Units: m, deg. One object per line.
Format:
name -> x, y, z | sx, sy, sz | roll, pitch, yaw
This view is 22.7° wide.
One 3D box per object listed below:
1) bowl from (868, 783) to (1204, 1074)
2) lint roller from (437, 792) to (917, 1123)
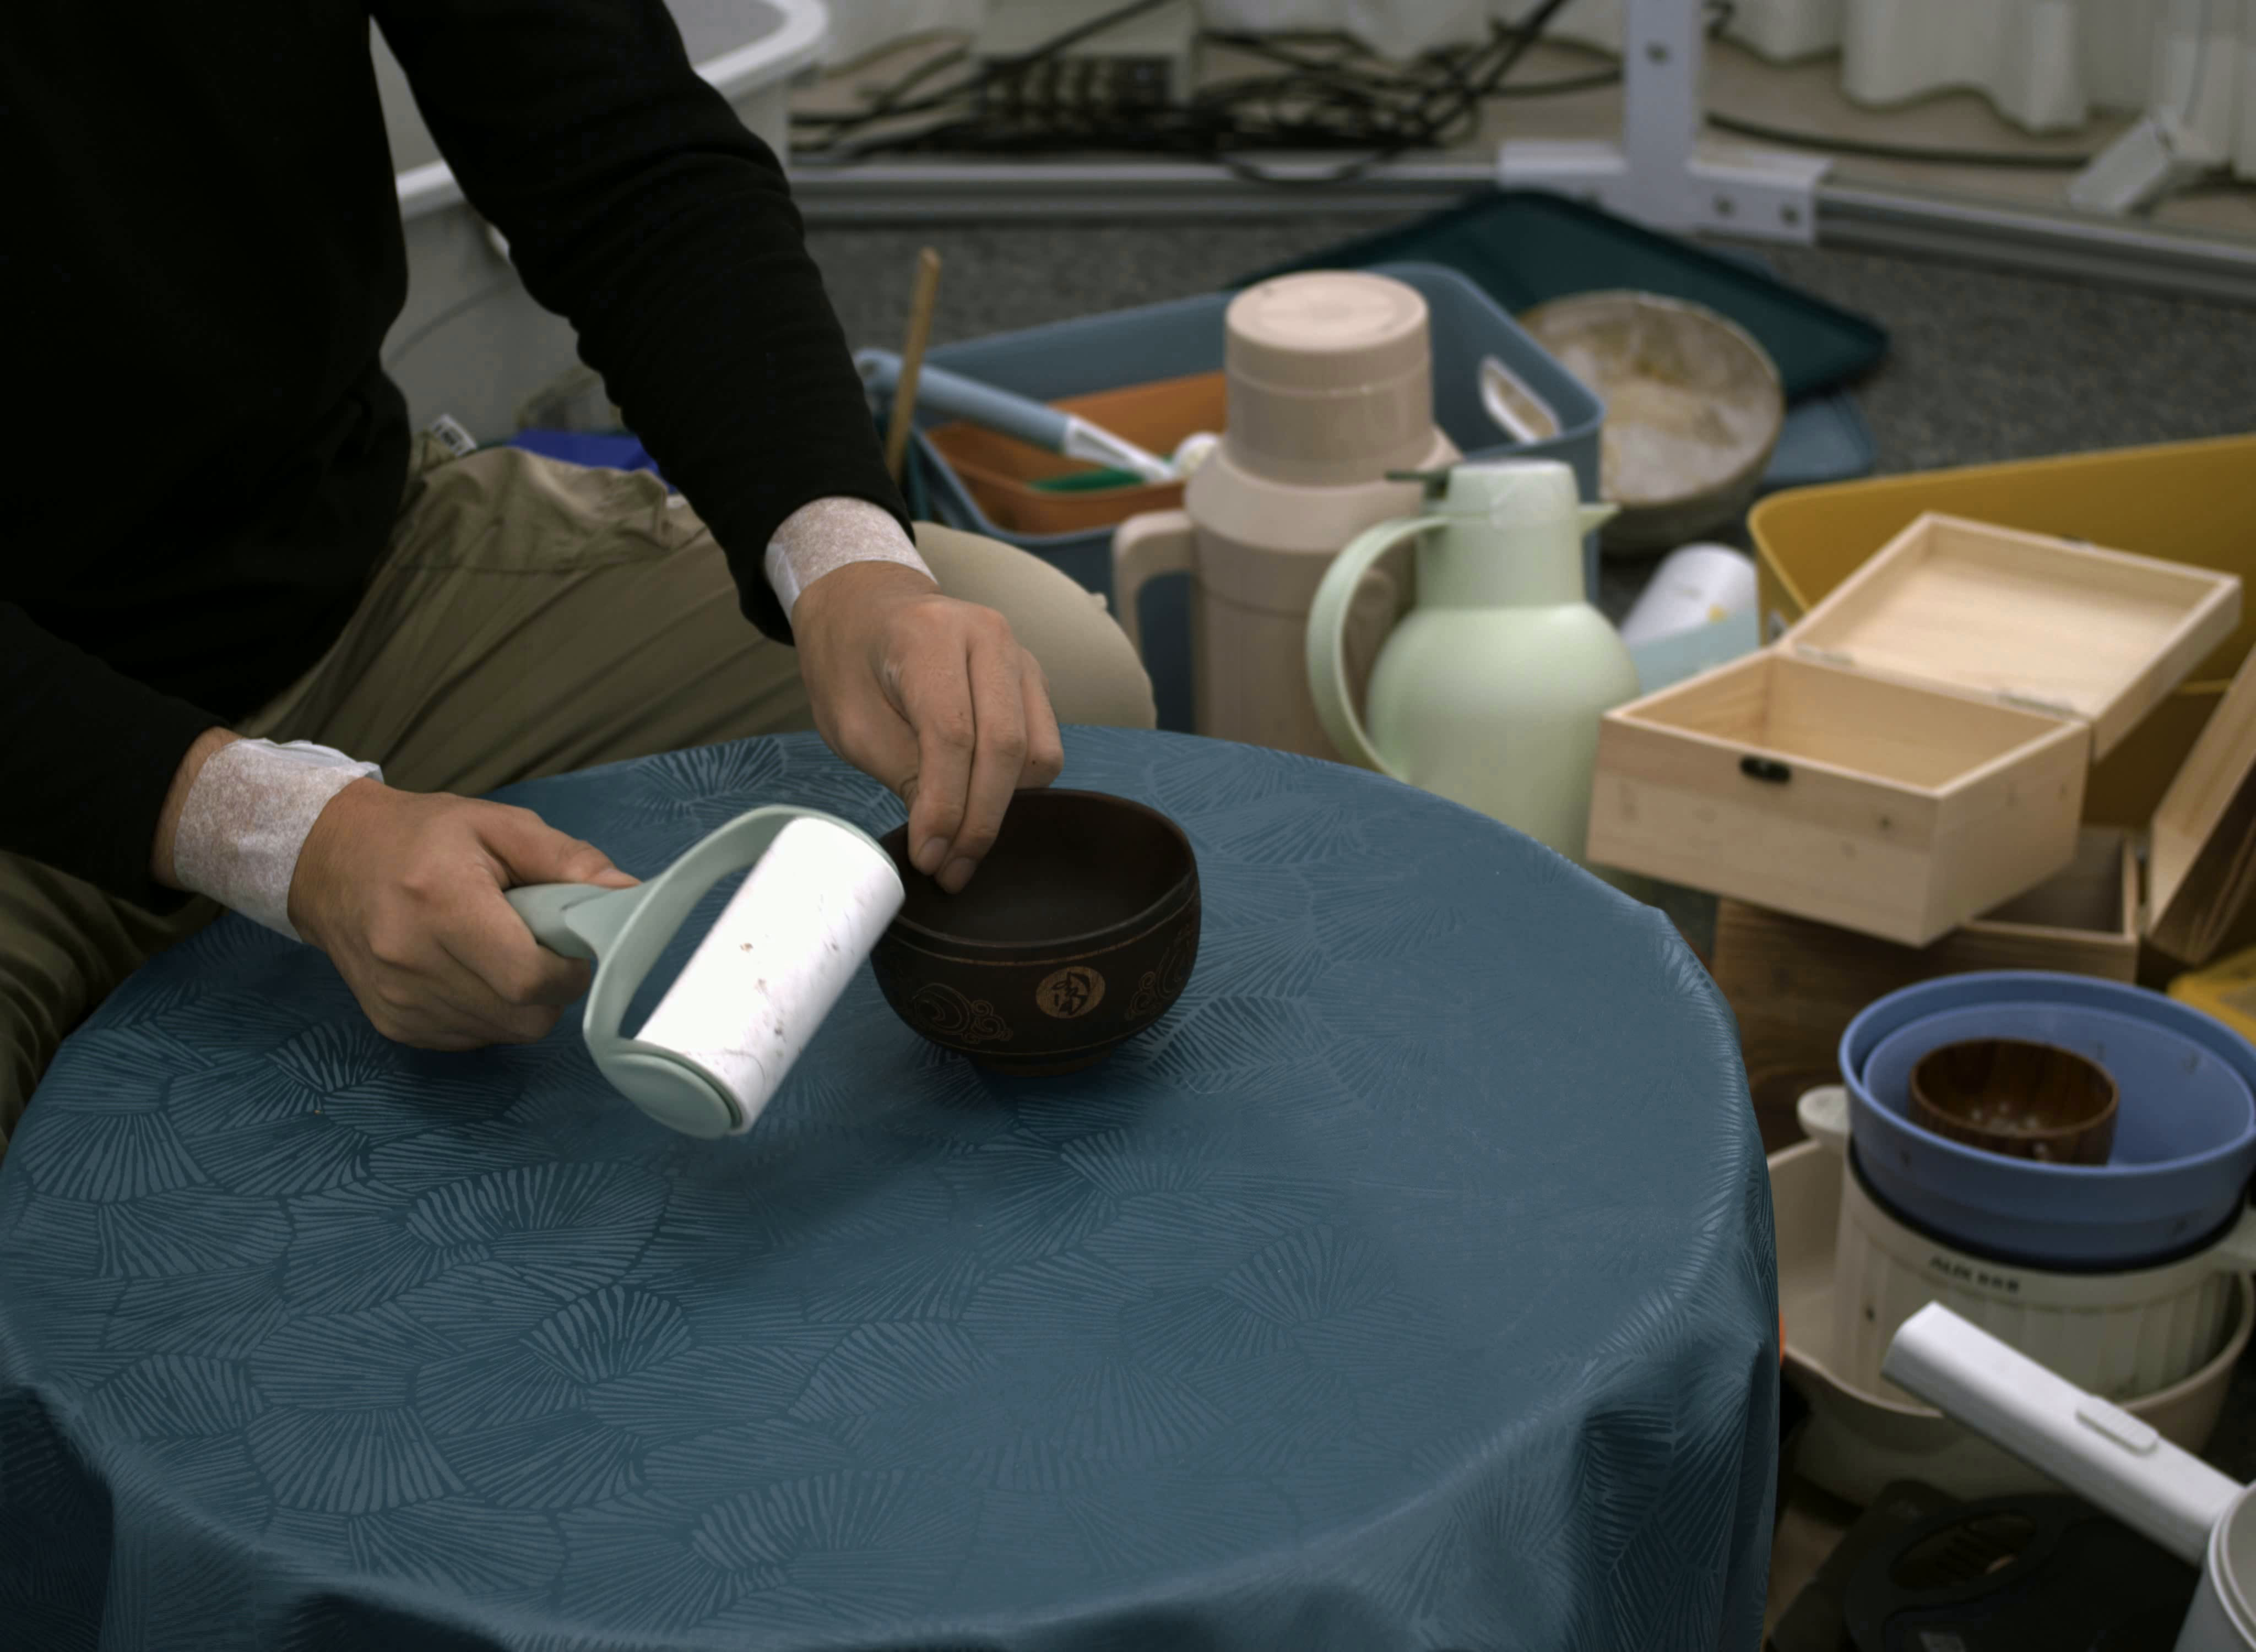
bowl -> -0.031, 0.042, 1.940 | 0.117, 0.069, 0.120 | -3, 27, 2
lint roller -> -0.169, 0.038, 1.904 | 0.196, 0.048, 0.118 | 7, 52, 40
